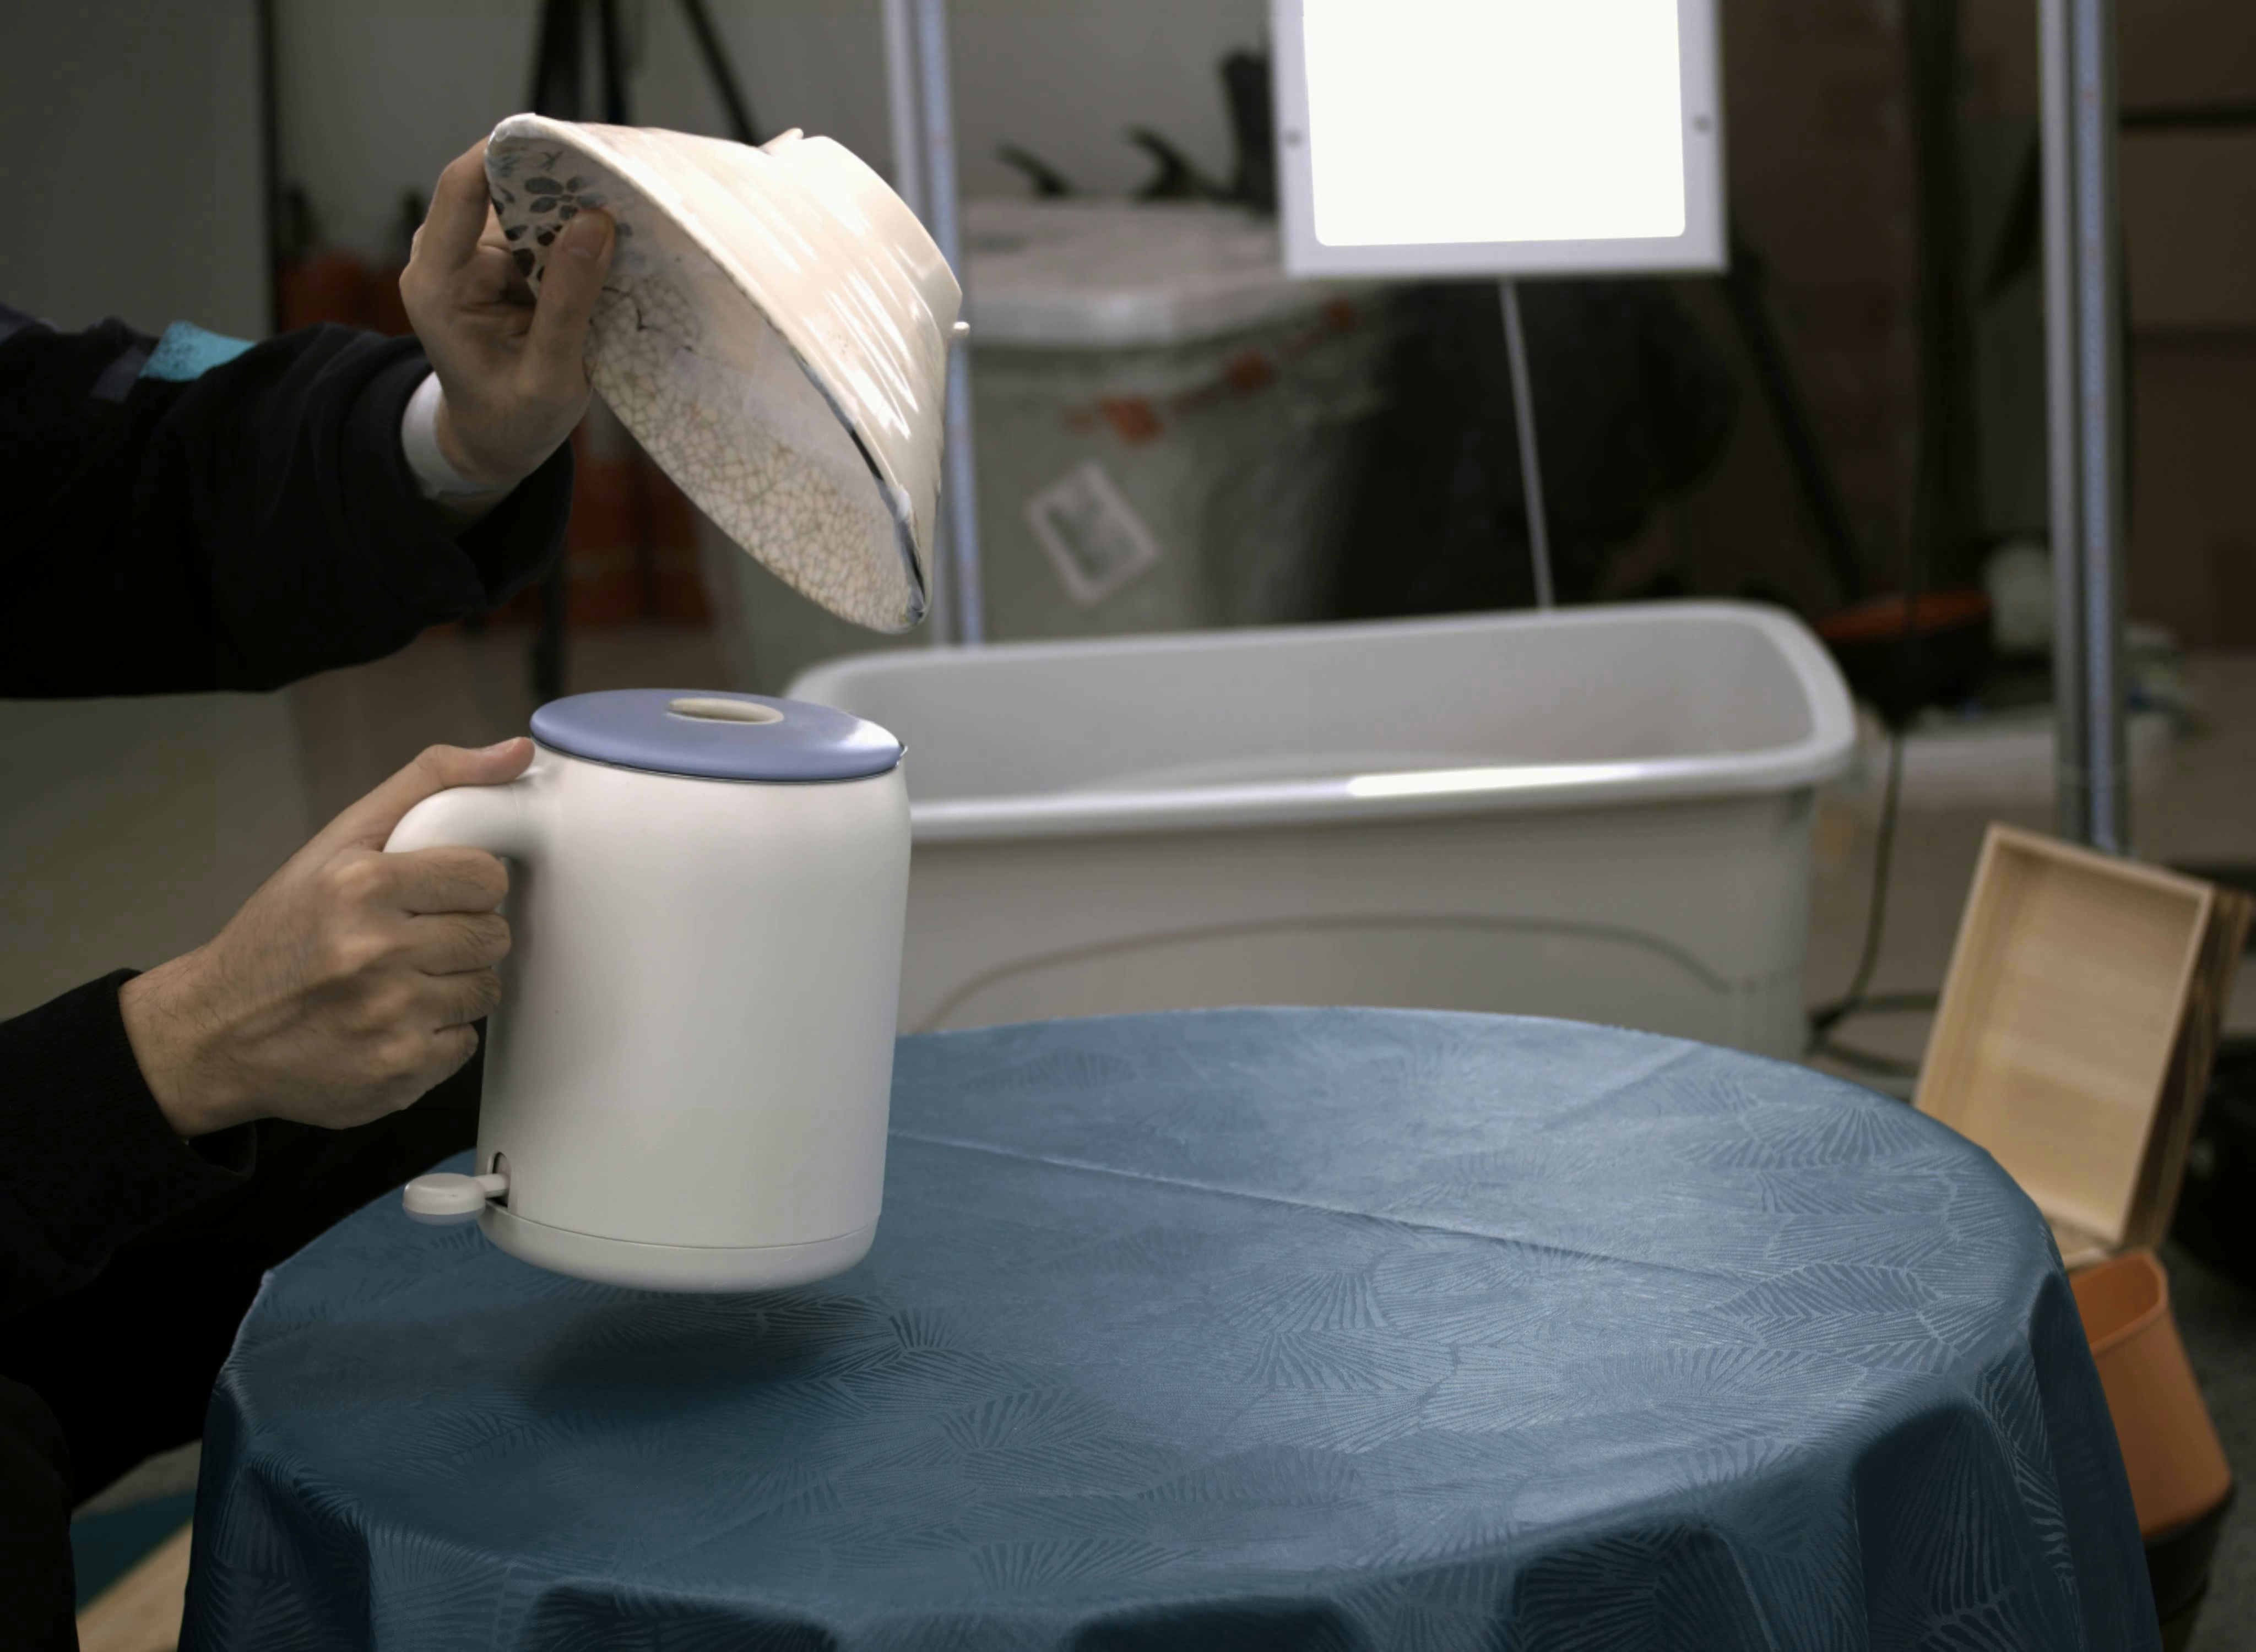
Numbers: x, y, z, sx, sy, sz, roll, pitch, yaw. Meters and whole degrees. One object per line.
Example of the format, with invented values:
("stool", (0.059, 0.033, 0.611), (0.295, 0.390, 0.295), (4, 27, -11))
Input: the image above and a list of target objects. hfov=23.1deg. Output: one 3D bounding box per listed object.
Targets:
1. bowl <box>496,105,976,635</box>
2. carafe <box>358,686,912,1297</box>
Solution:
("bowl", (-0.104, -0.163, 1.725), (0.077, 0.203, 0.207), (-40, 24, -13))
("carafe", (-0.157, 0.053, 1.746), (0.186, 0.183, 0.135), (-5, 13, -32))
